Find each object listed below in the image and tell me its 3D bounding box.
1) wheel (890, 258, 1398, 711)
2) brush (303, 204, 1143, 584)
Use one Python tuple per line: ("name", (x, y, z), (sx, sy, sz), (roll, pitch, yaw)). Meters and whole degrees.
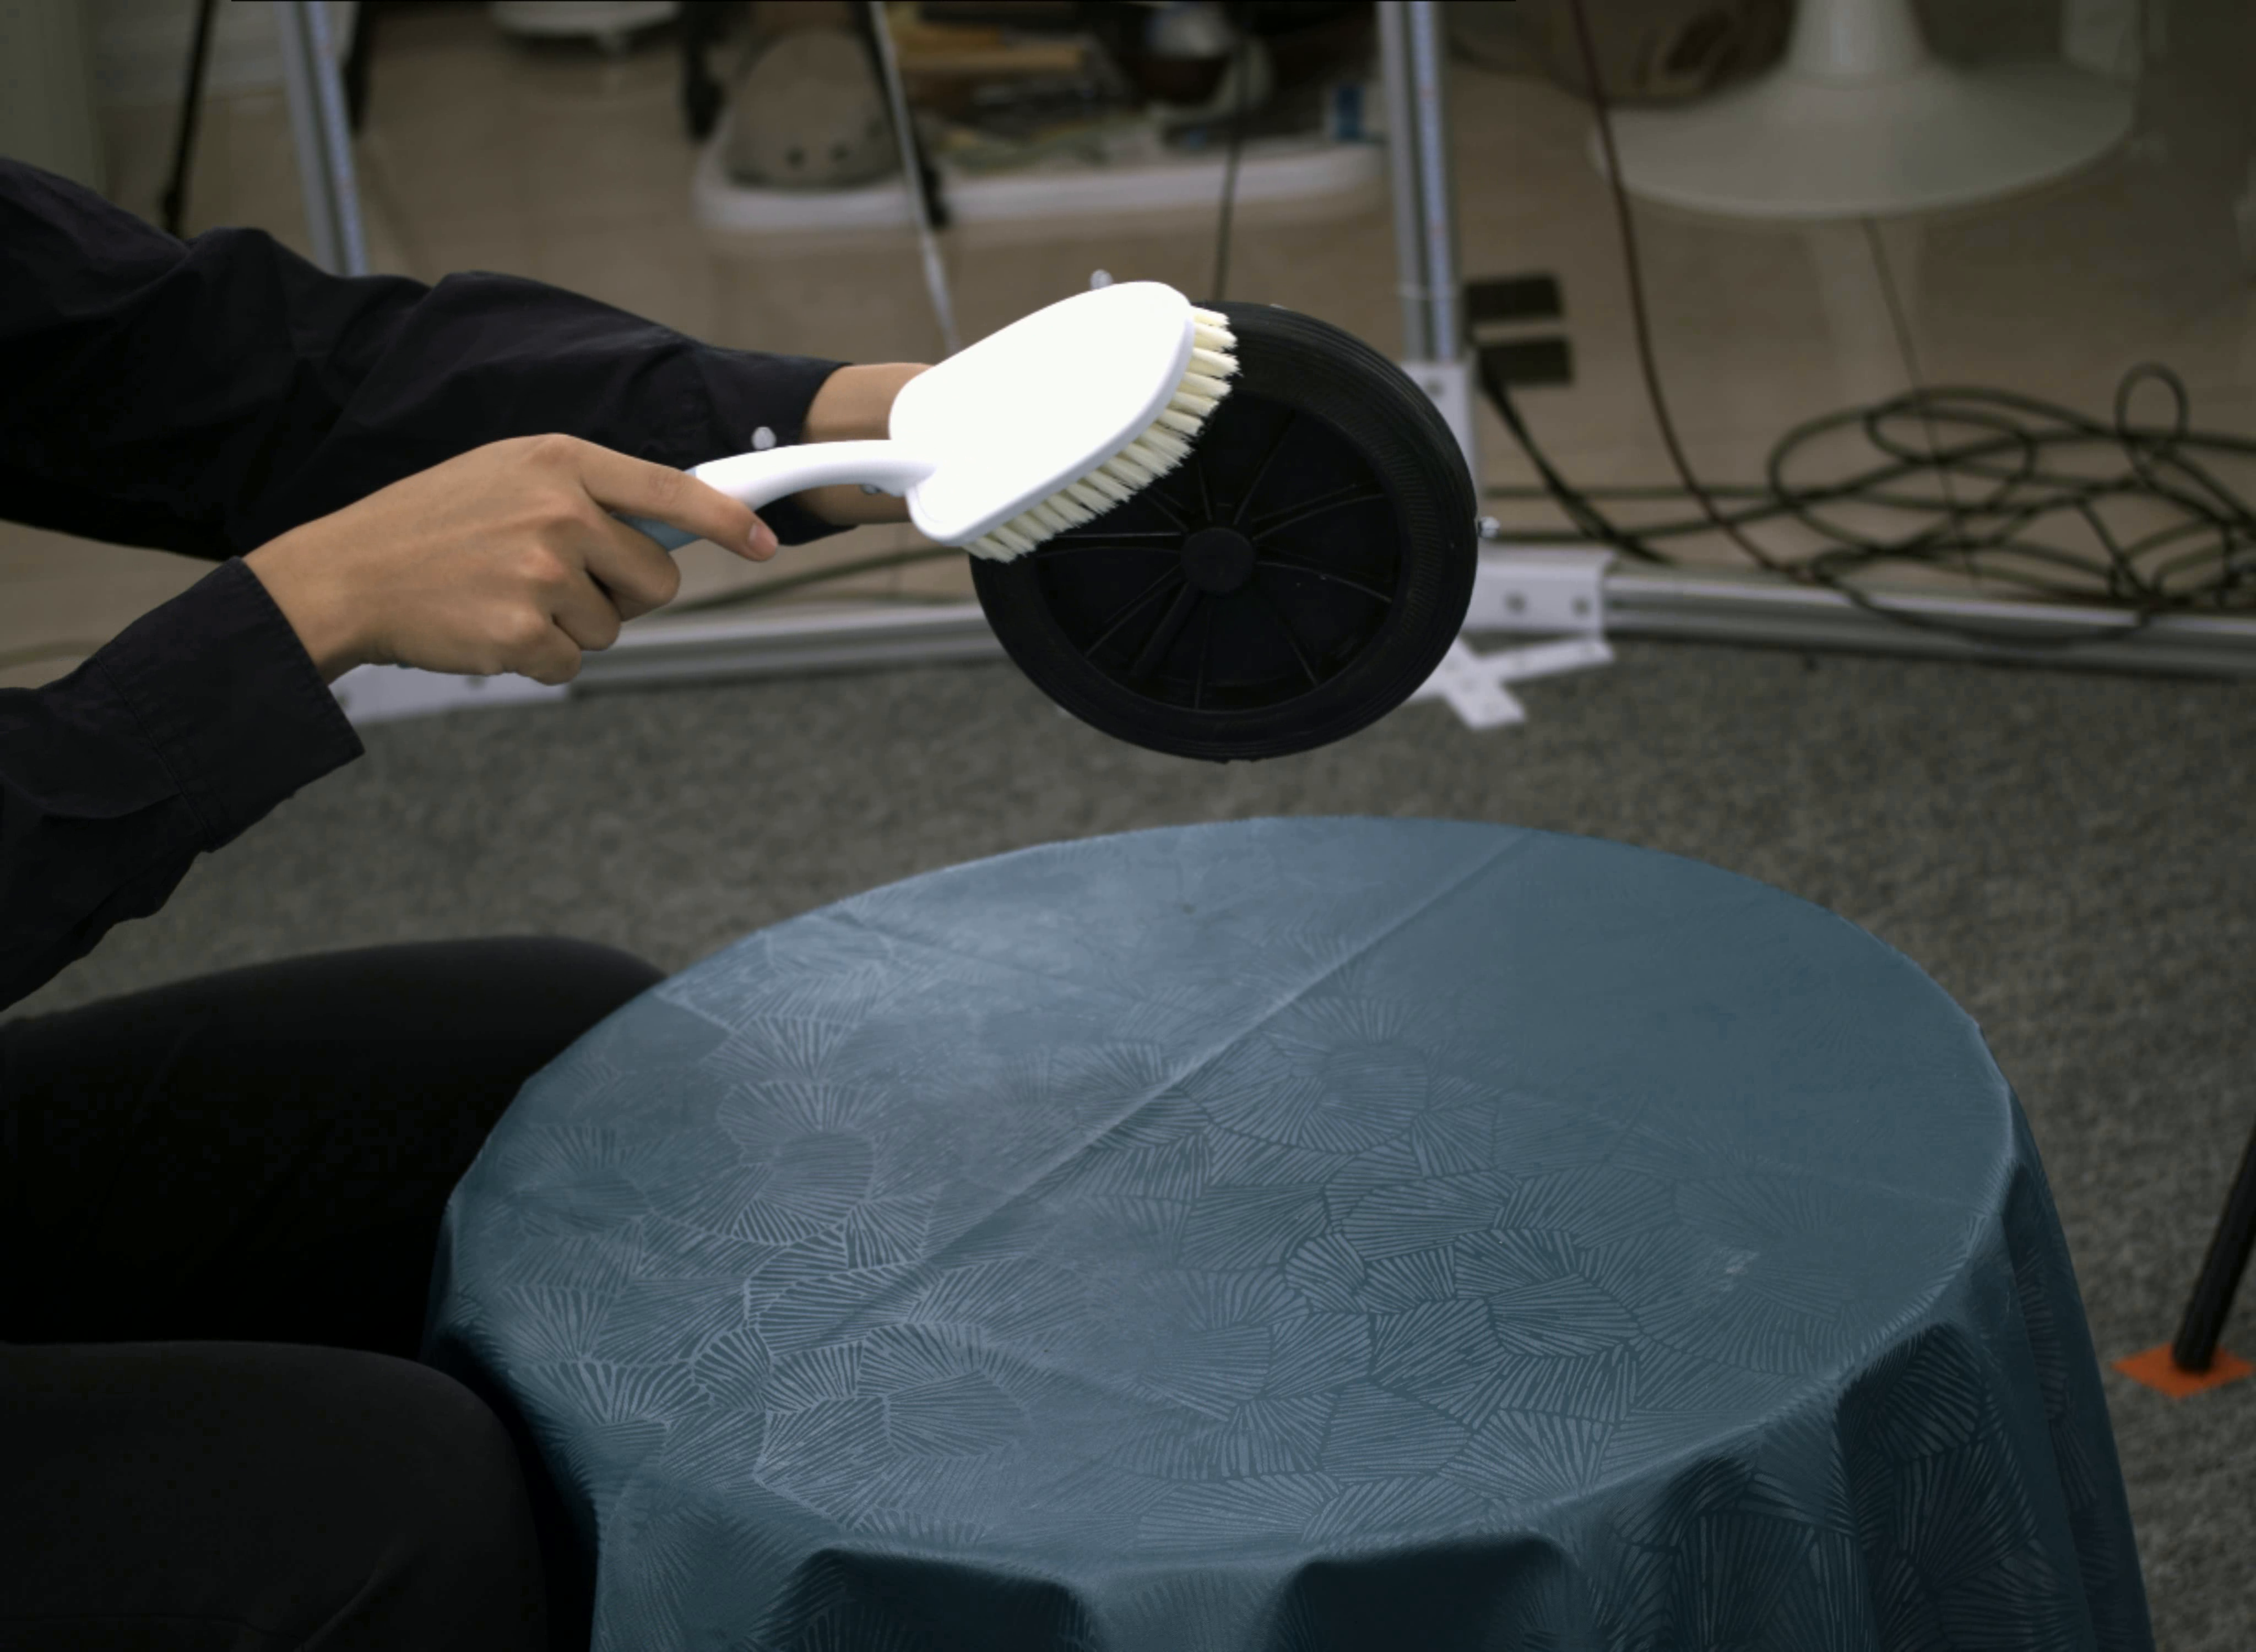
("wheel", (0.007, -0.138, 2.120), (0.190, 0.190, 0.078), (24, 34, -13))
("brush", (-0.144, -0.148, 2.045), (0.326, 0.086, 0.081), (-21, 32, 13))
